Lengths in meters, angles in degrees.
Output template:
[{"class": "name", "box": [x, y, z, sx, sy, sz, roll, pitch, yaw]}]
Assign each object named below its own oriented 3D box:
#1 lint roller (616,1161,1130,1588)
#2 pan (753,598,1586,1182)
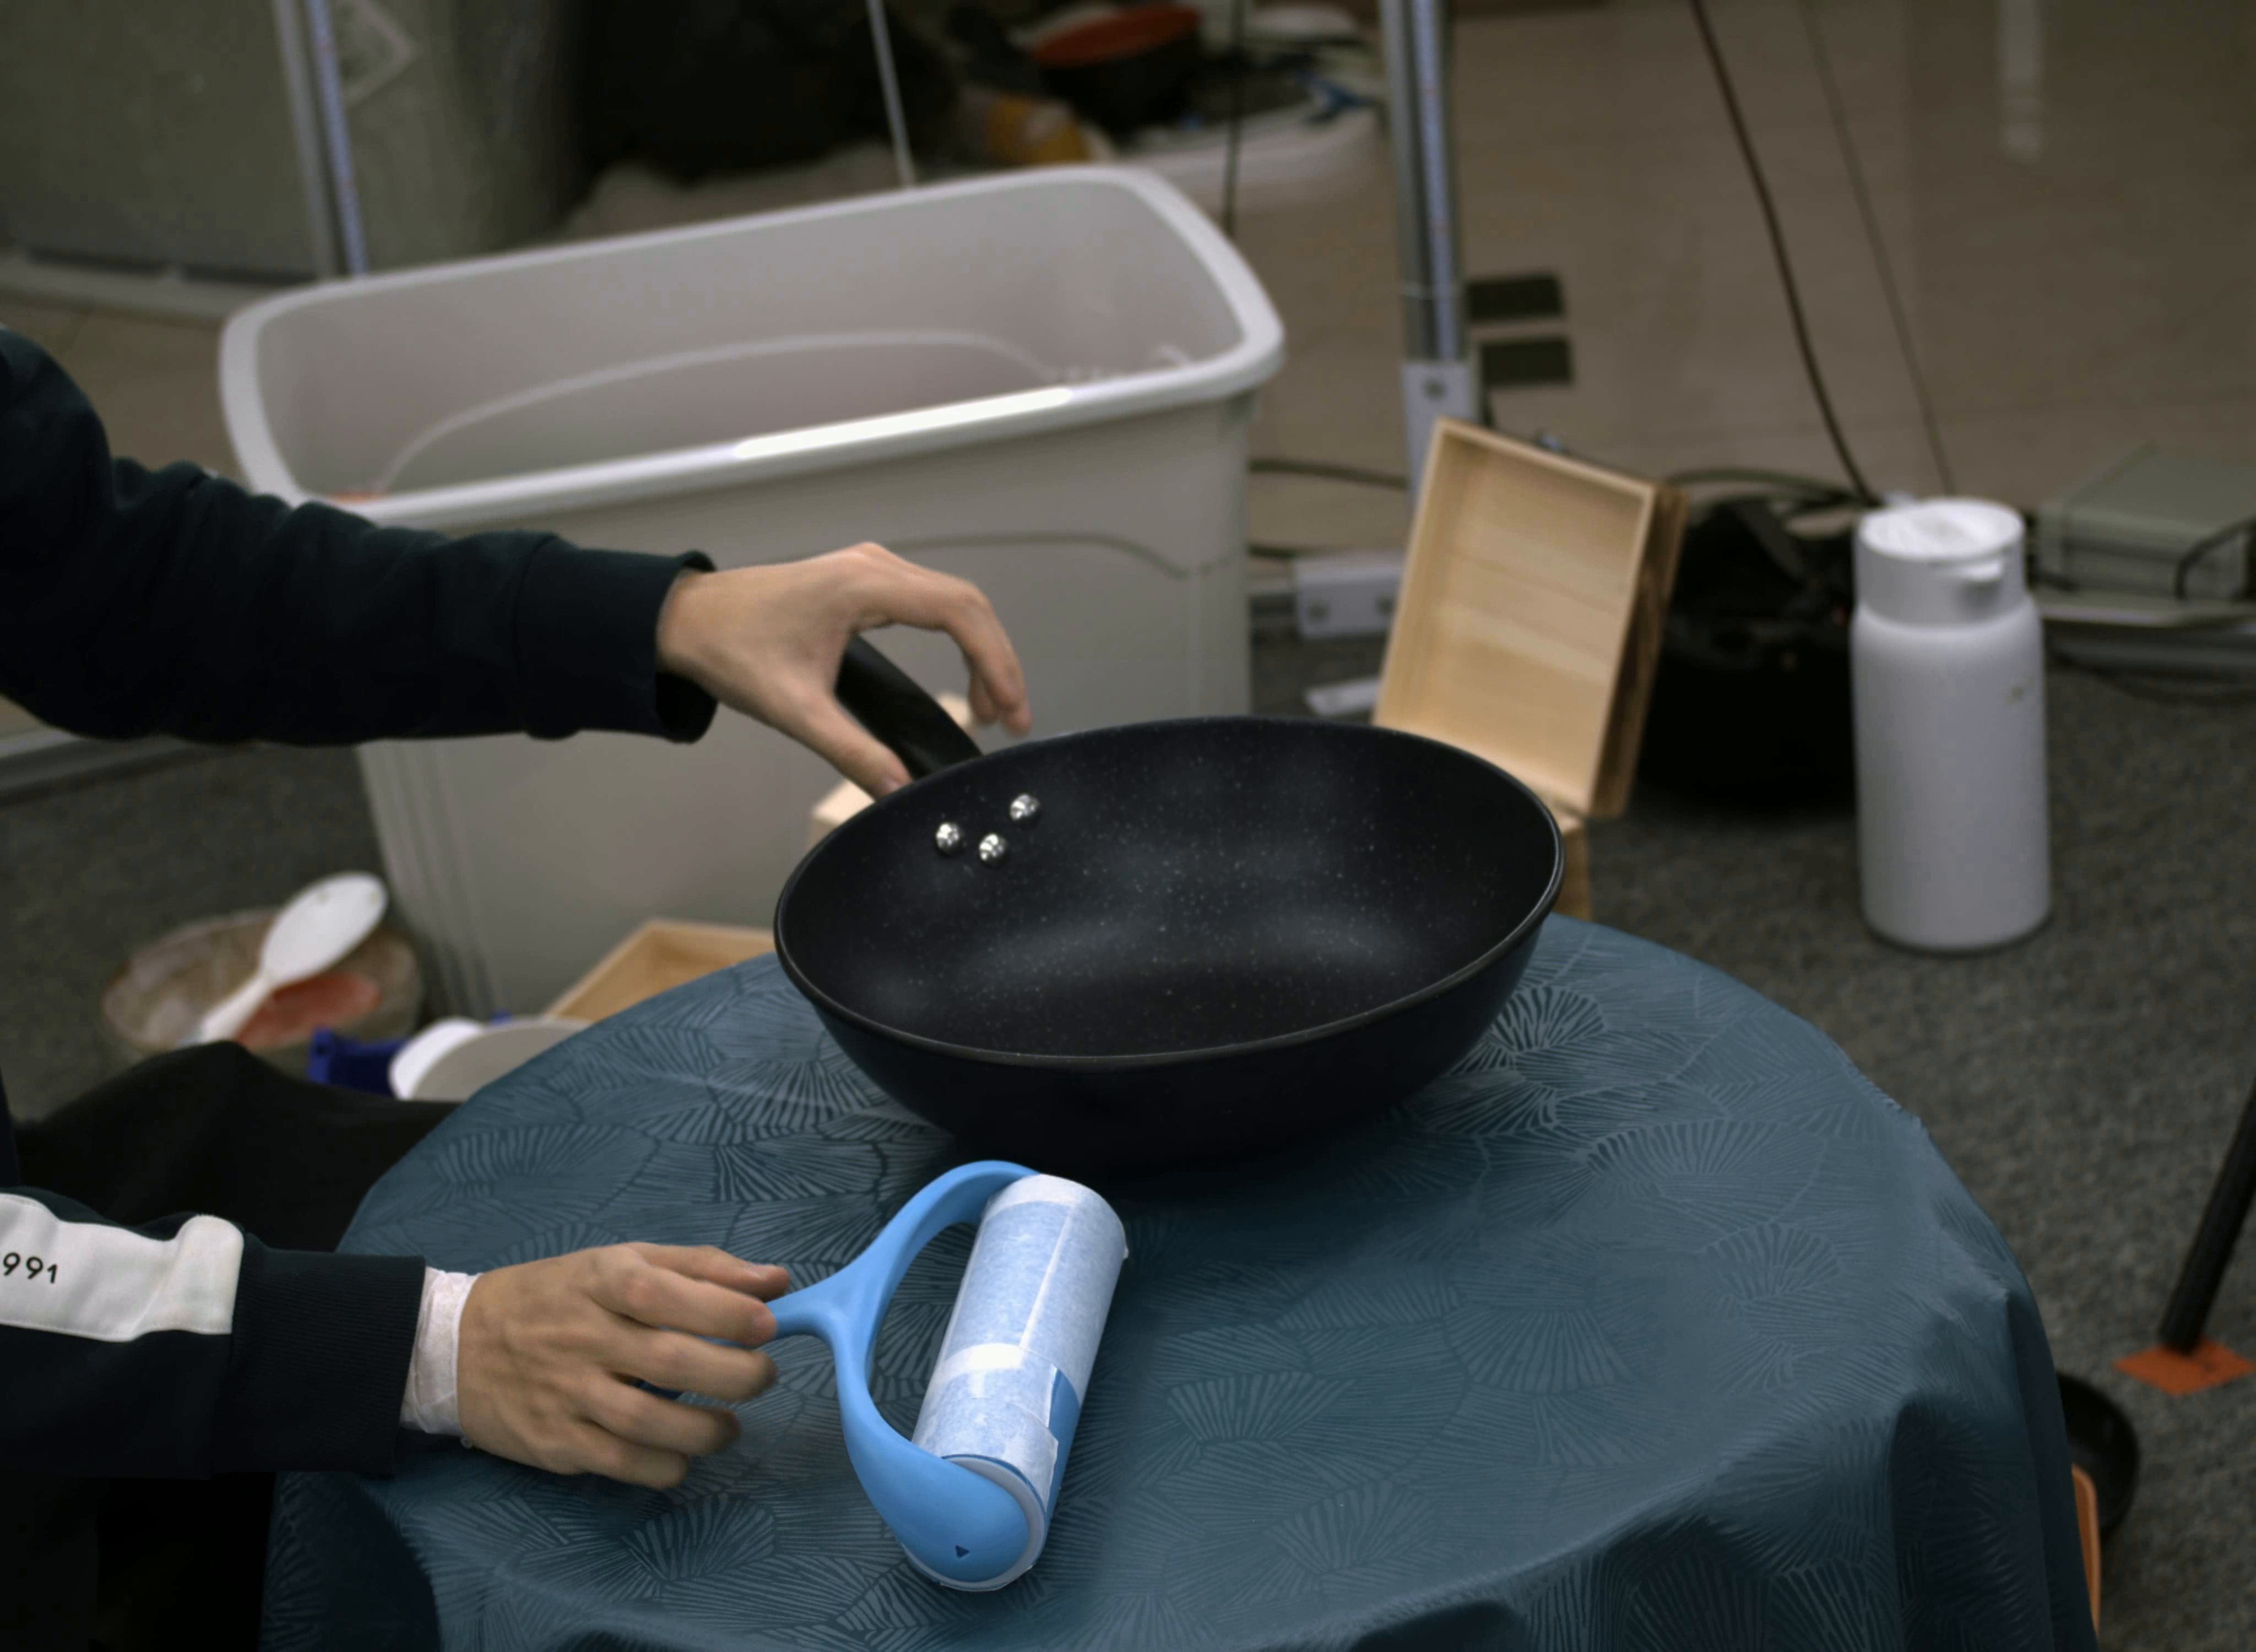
[{"class": "lint roller", "box": [-0.095, 0.193, 1.985, 0.180, 0.069, 0.225, -3, 27, 6]}, {"class": "pan", "box": [-0.021, 0.025, 2.265, 0.308, 0.113, 0.472, -19, 28, -28]}]
